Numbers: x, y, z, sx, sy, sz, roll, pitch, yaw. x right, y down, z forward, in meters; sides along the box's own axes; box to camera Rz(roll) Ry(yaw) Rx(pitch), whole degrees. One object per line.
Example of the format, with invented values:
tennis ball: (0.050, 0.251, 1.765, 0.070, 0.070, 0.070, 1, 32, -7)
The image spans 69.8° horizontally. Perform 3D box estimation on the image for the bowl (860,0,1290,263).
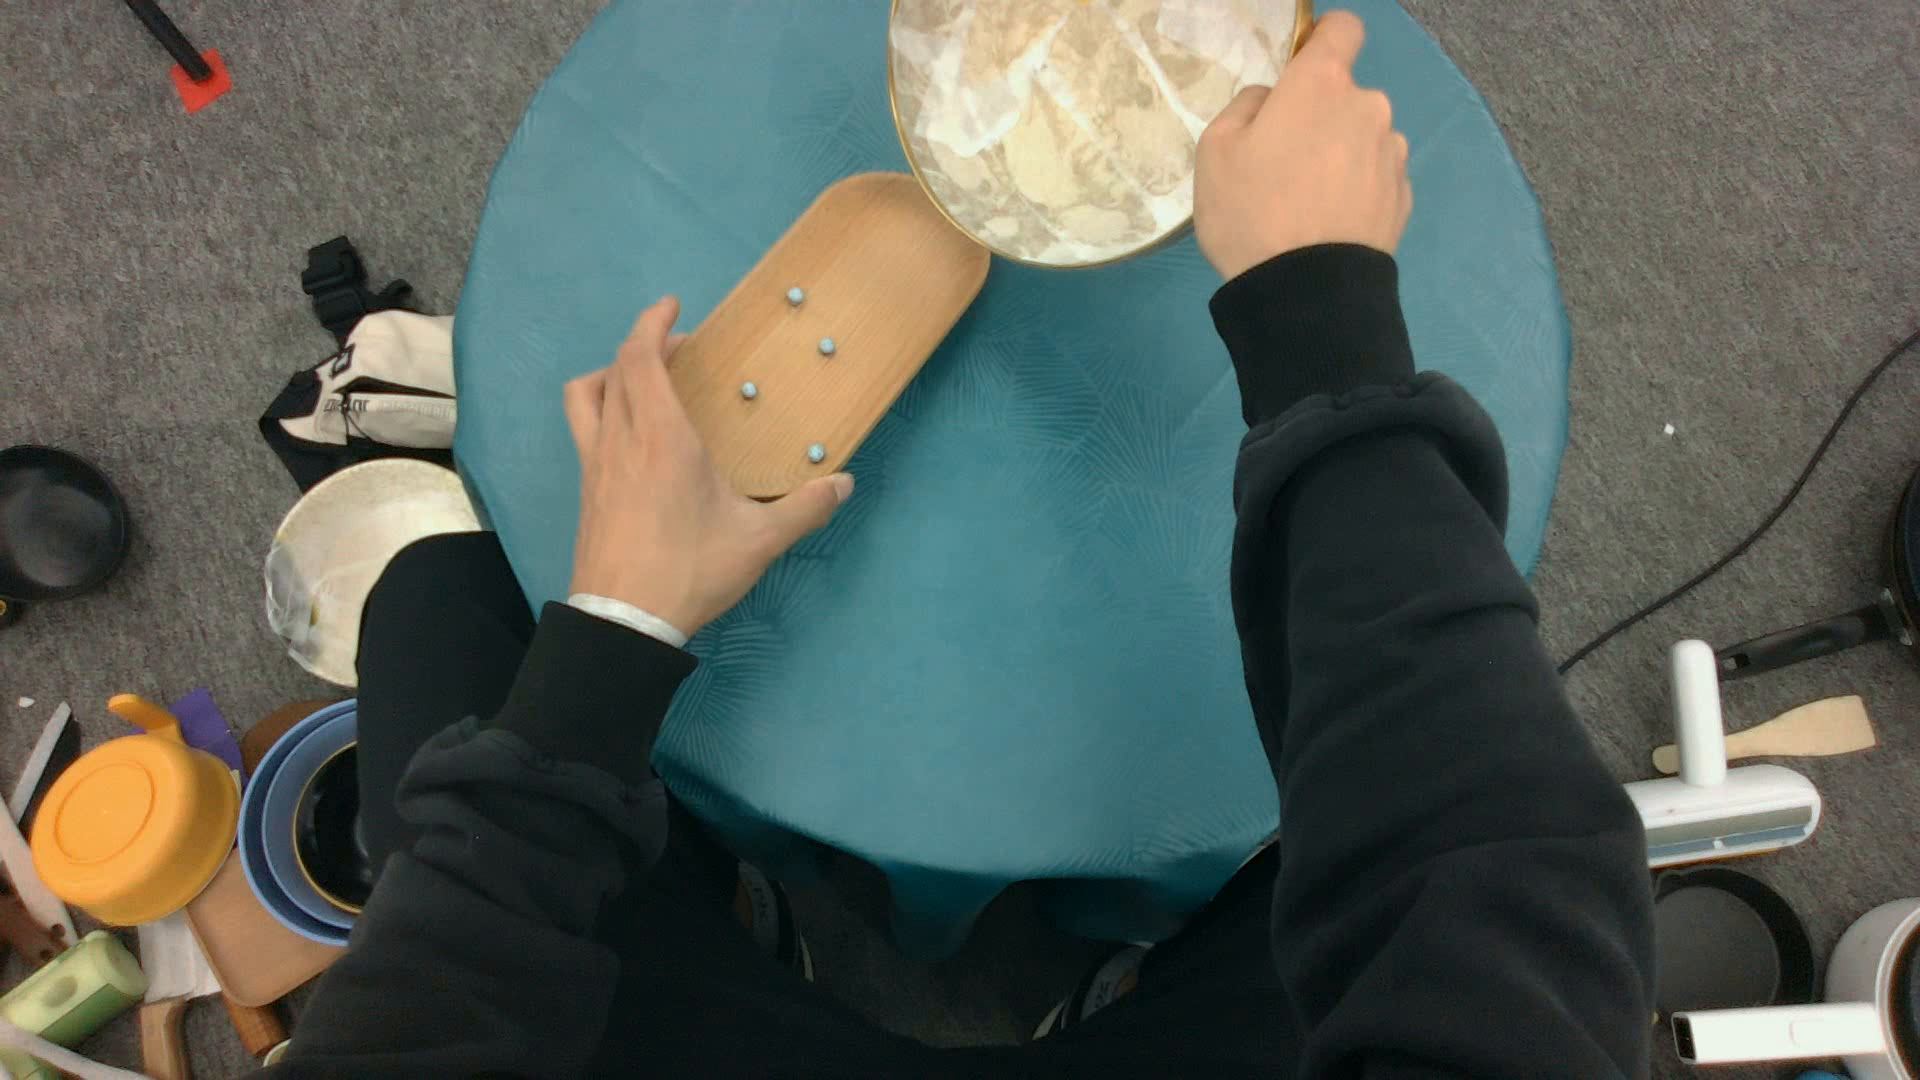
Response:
bowl: (0.061, -0.231, 0.643, 0.214, 0.095, 0.214, 5, 101, 30)

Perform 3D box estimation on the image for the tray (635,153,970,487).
tray: (-0.076, -0.117, 0.703, 0.101, 0.020, 0.232, 30, 58, 4)
